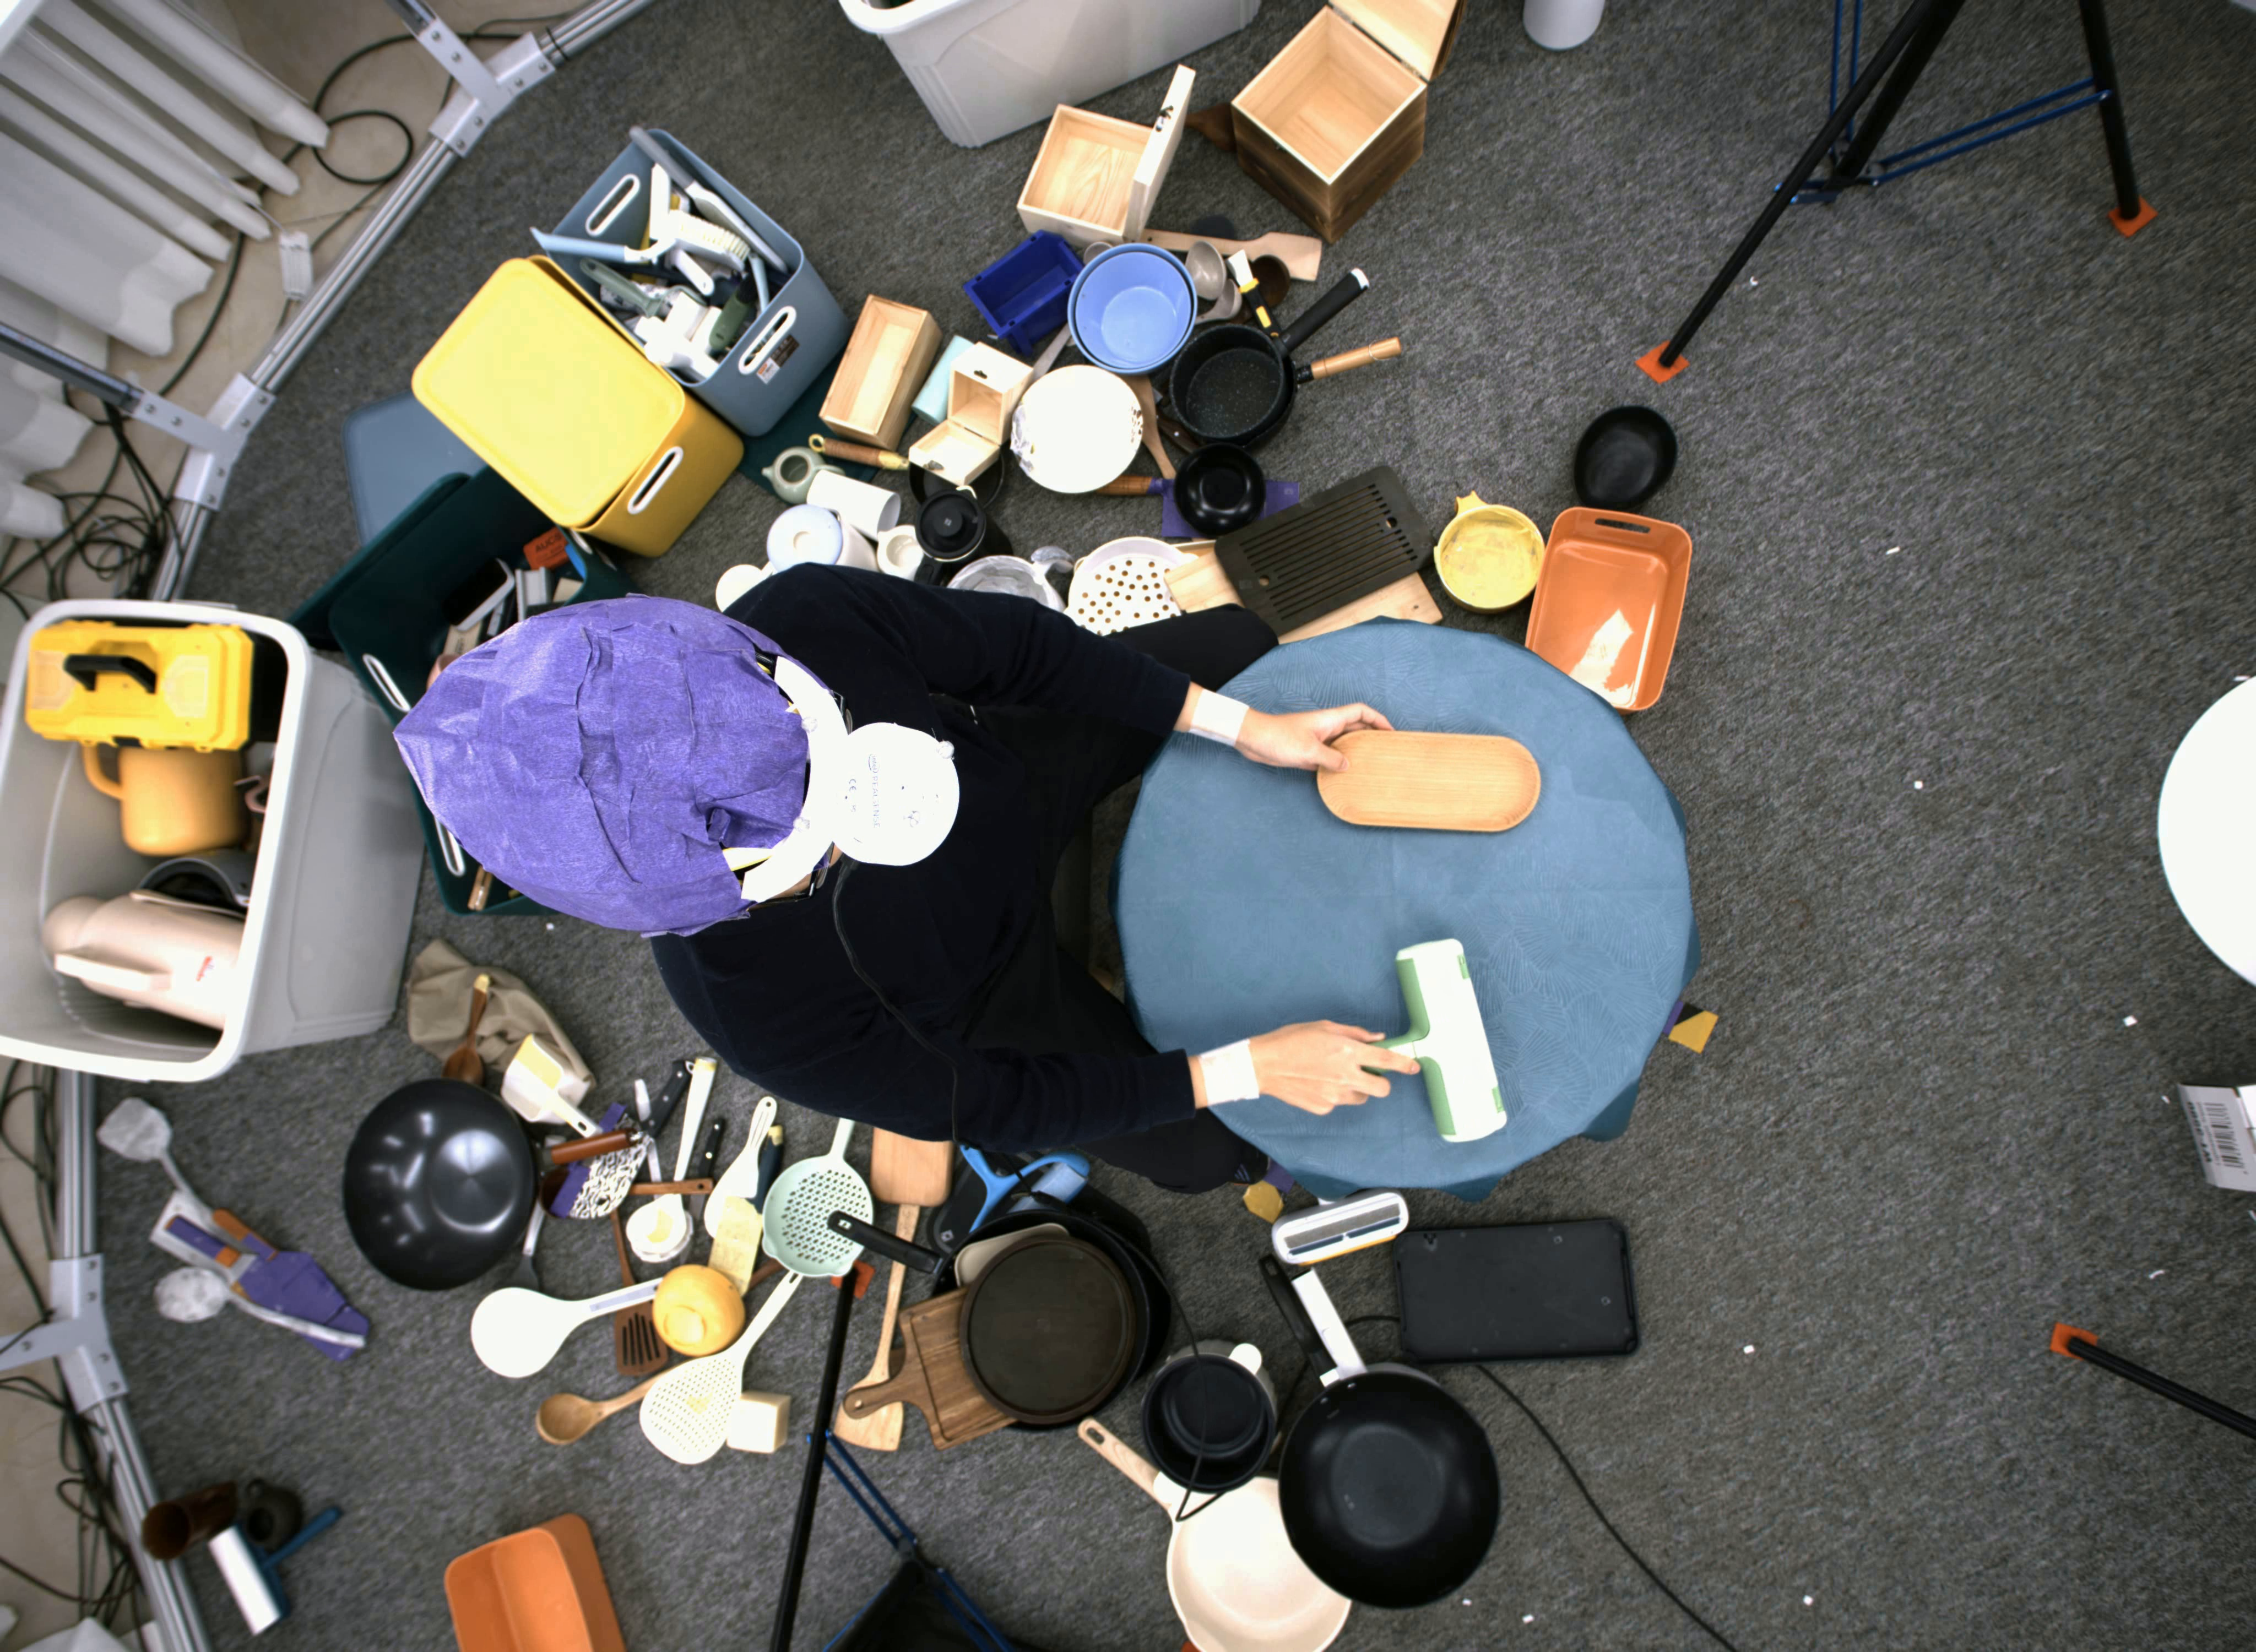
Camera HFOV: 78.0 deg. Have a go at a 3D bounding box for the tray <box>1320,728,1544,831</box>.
[{"bbox_3d":[0.316,-0.051,1.438,0.232,0.020,0.102,2,98,5],"label":"tray"}]

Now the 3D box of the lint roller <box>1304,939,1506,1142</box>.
[{"bbox_3d":[0.267,0.224,1.355,0.182,0.083,0.198,-15,89,-14],"label":"lint roller"}]
